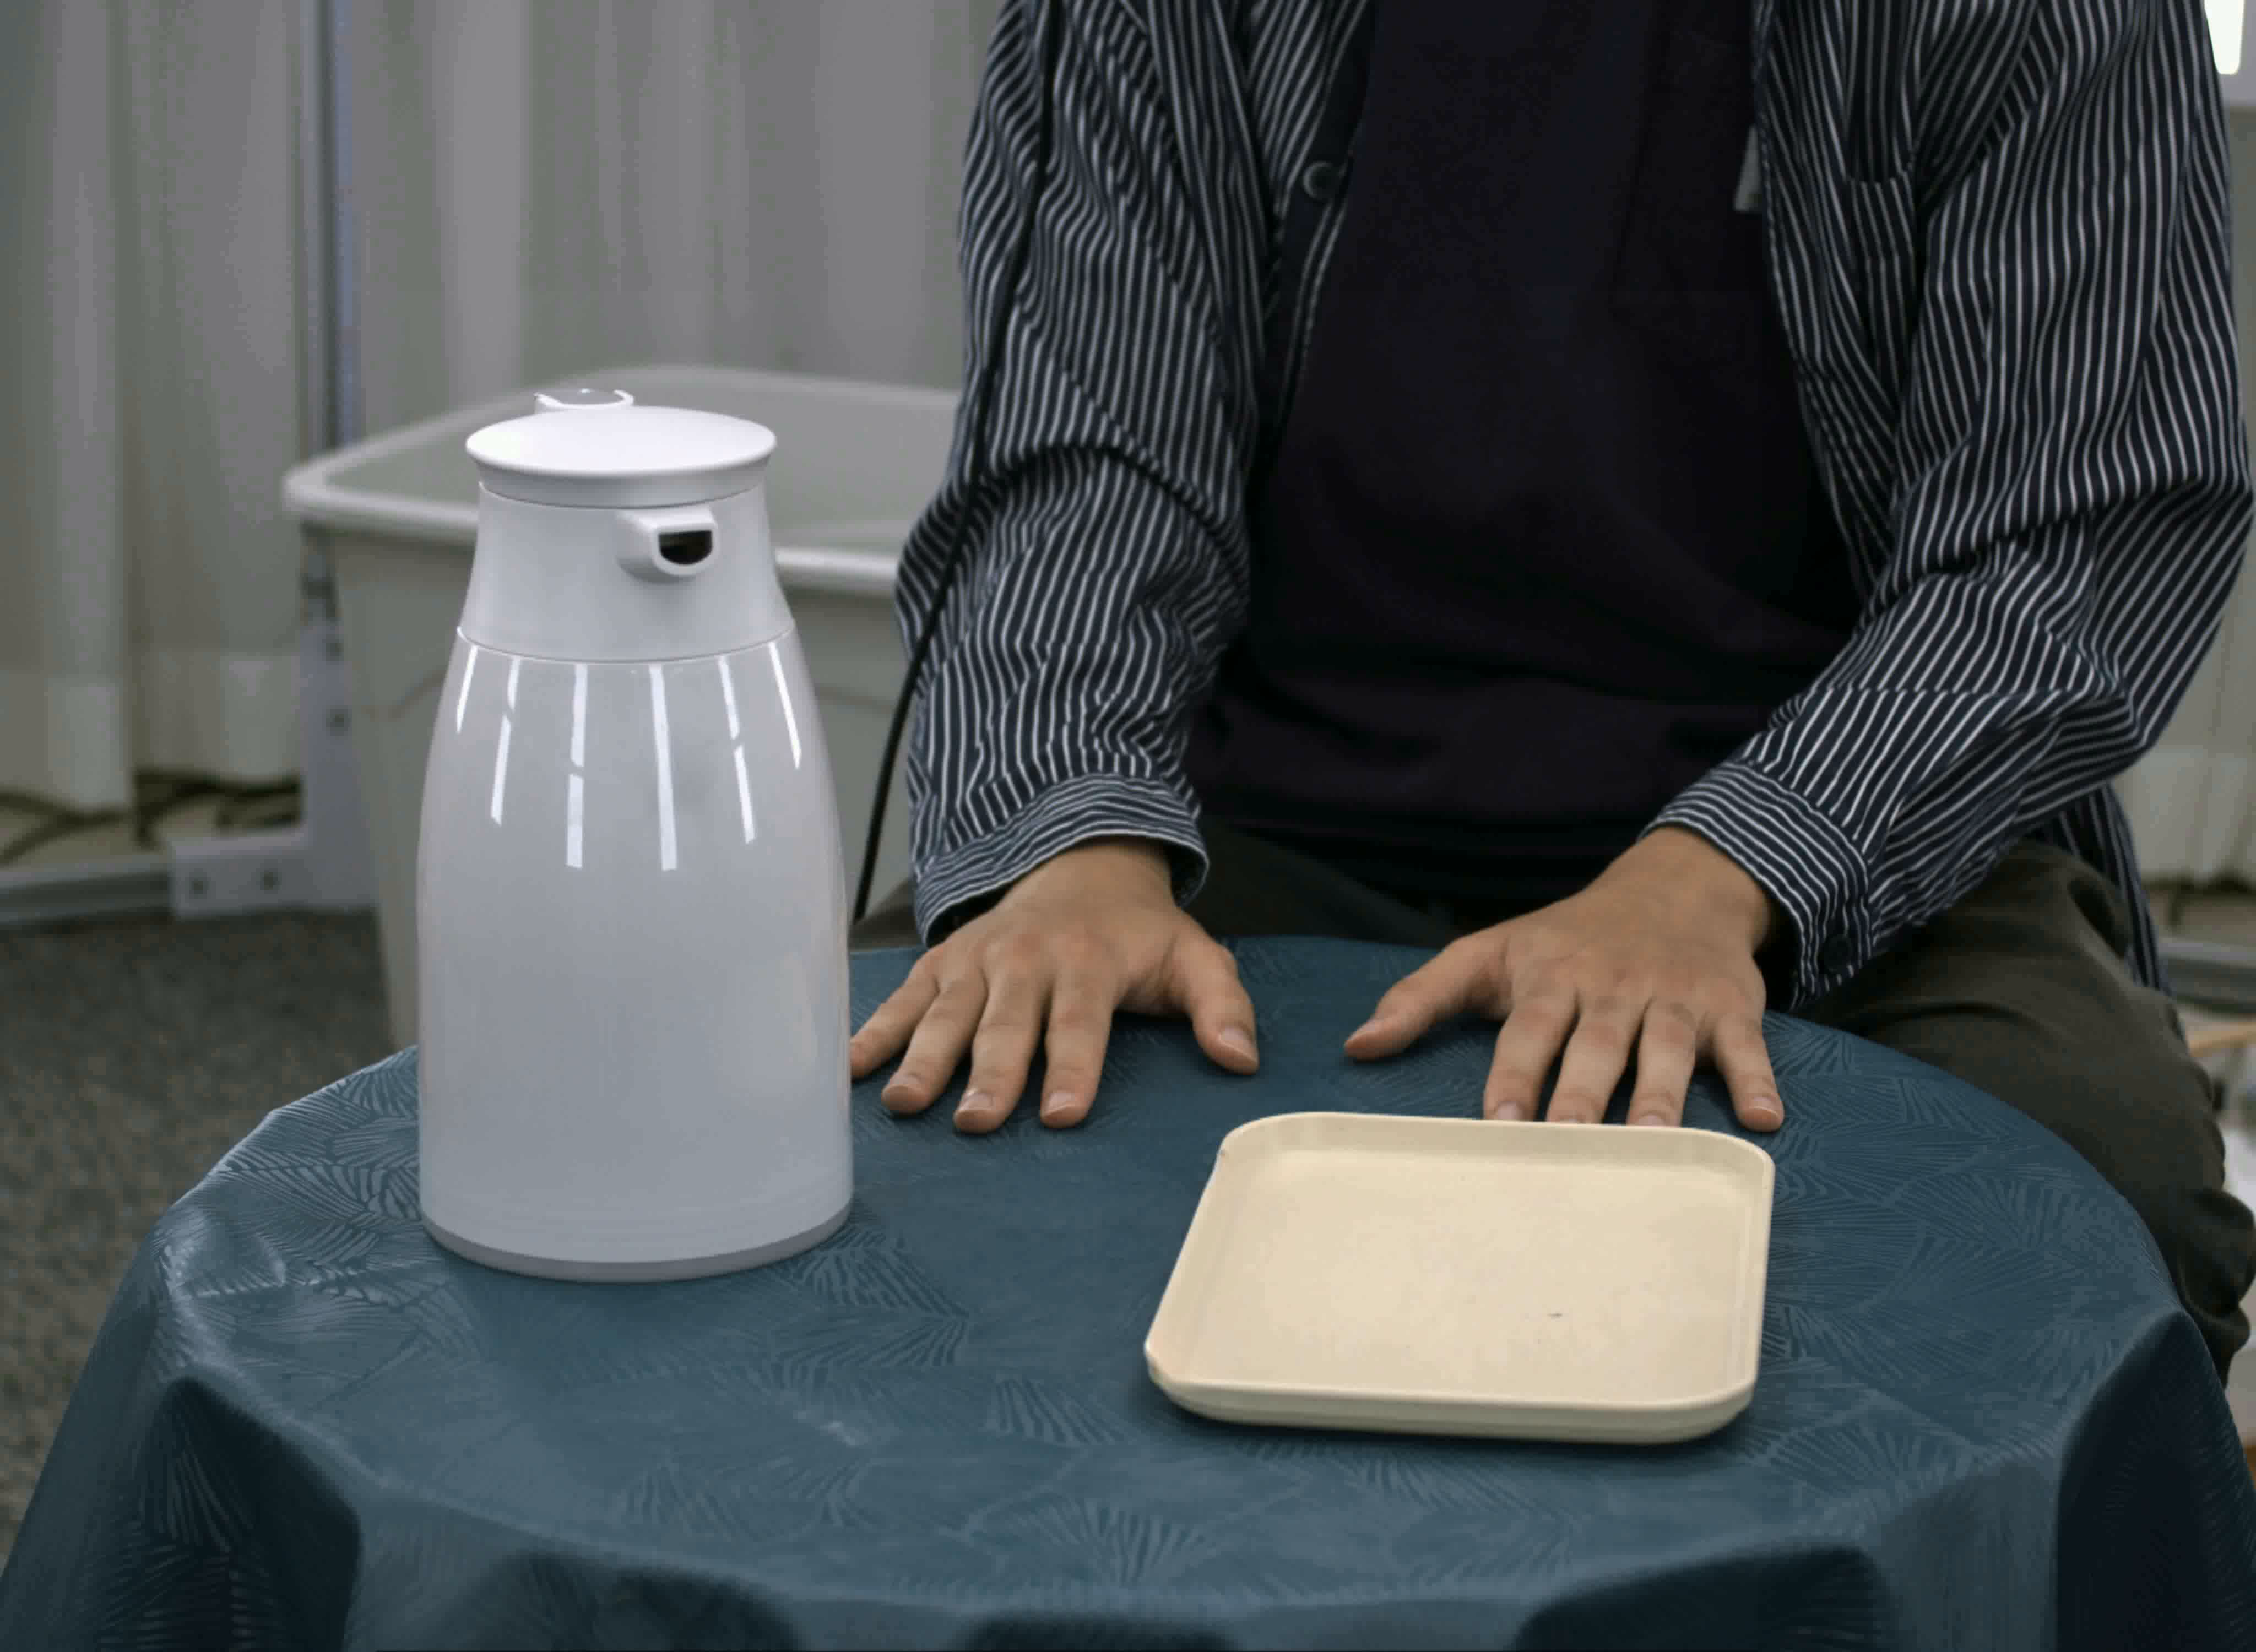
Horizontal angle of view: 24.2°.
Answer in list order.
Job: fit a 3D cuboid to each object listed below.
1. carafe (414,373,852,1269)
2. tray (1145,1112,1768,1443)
[{"bbox_3d":[-0.159,-0.010,1.590,0.133,0.250,0.165,-8,17,-26],"label":"carafe"},{"bbox_3d":[0.100,0.130,1.535,0.170,0.017,0.239,3,15,7],"label":"tray"}]
